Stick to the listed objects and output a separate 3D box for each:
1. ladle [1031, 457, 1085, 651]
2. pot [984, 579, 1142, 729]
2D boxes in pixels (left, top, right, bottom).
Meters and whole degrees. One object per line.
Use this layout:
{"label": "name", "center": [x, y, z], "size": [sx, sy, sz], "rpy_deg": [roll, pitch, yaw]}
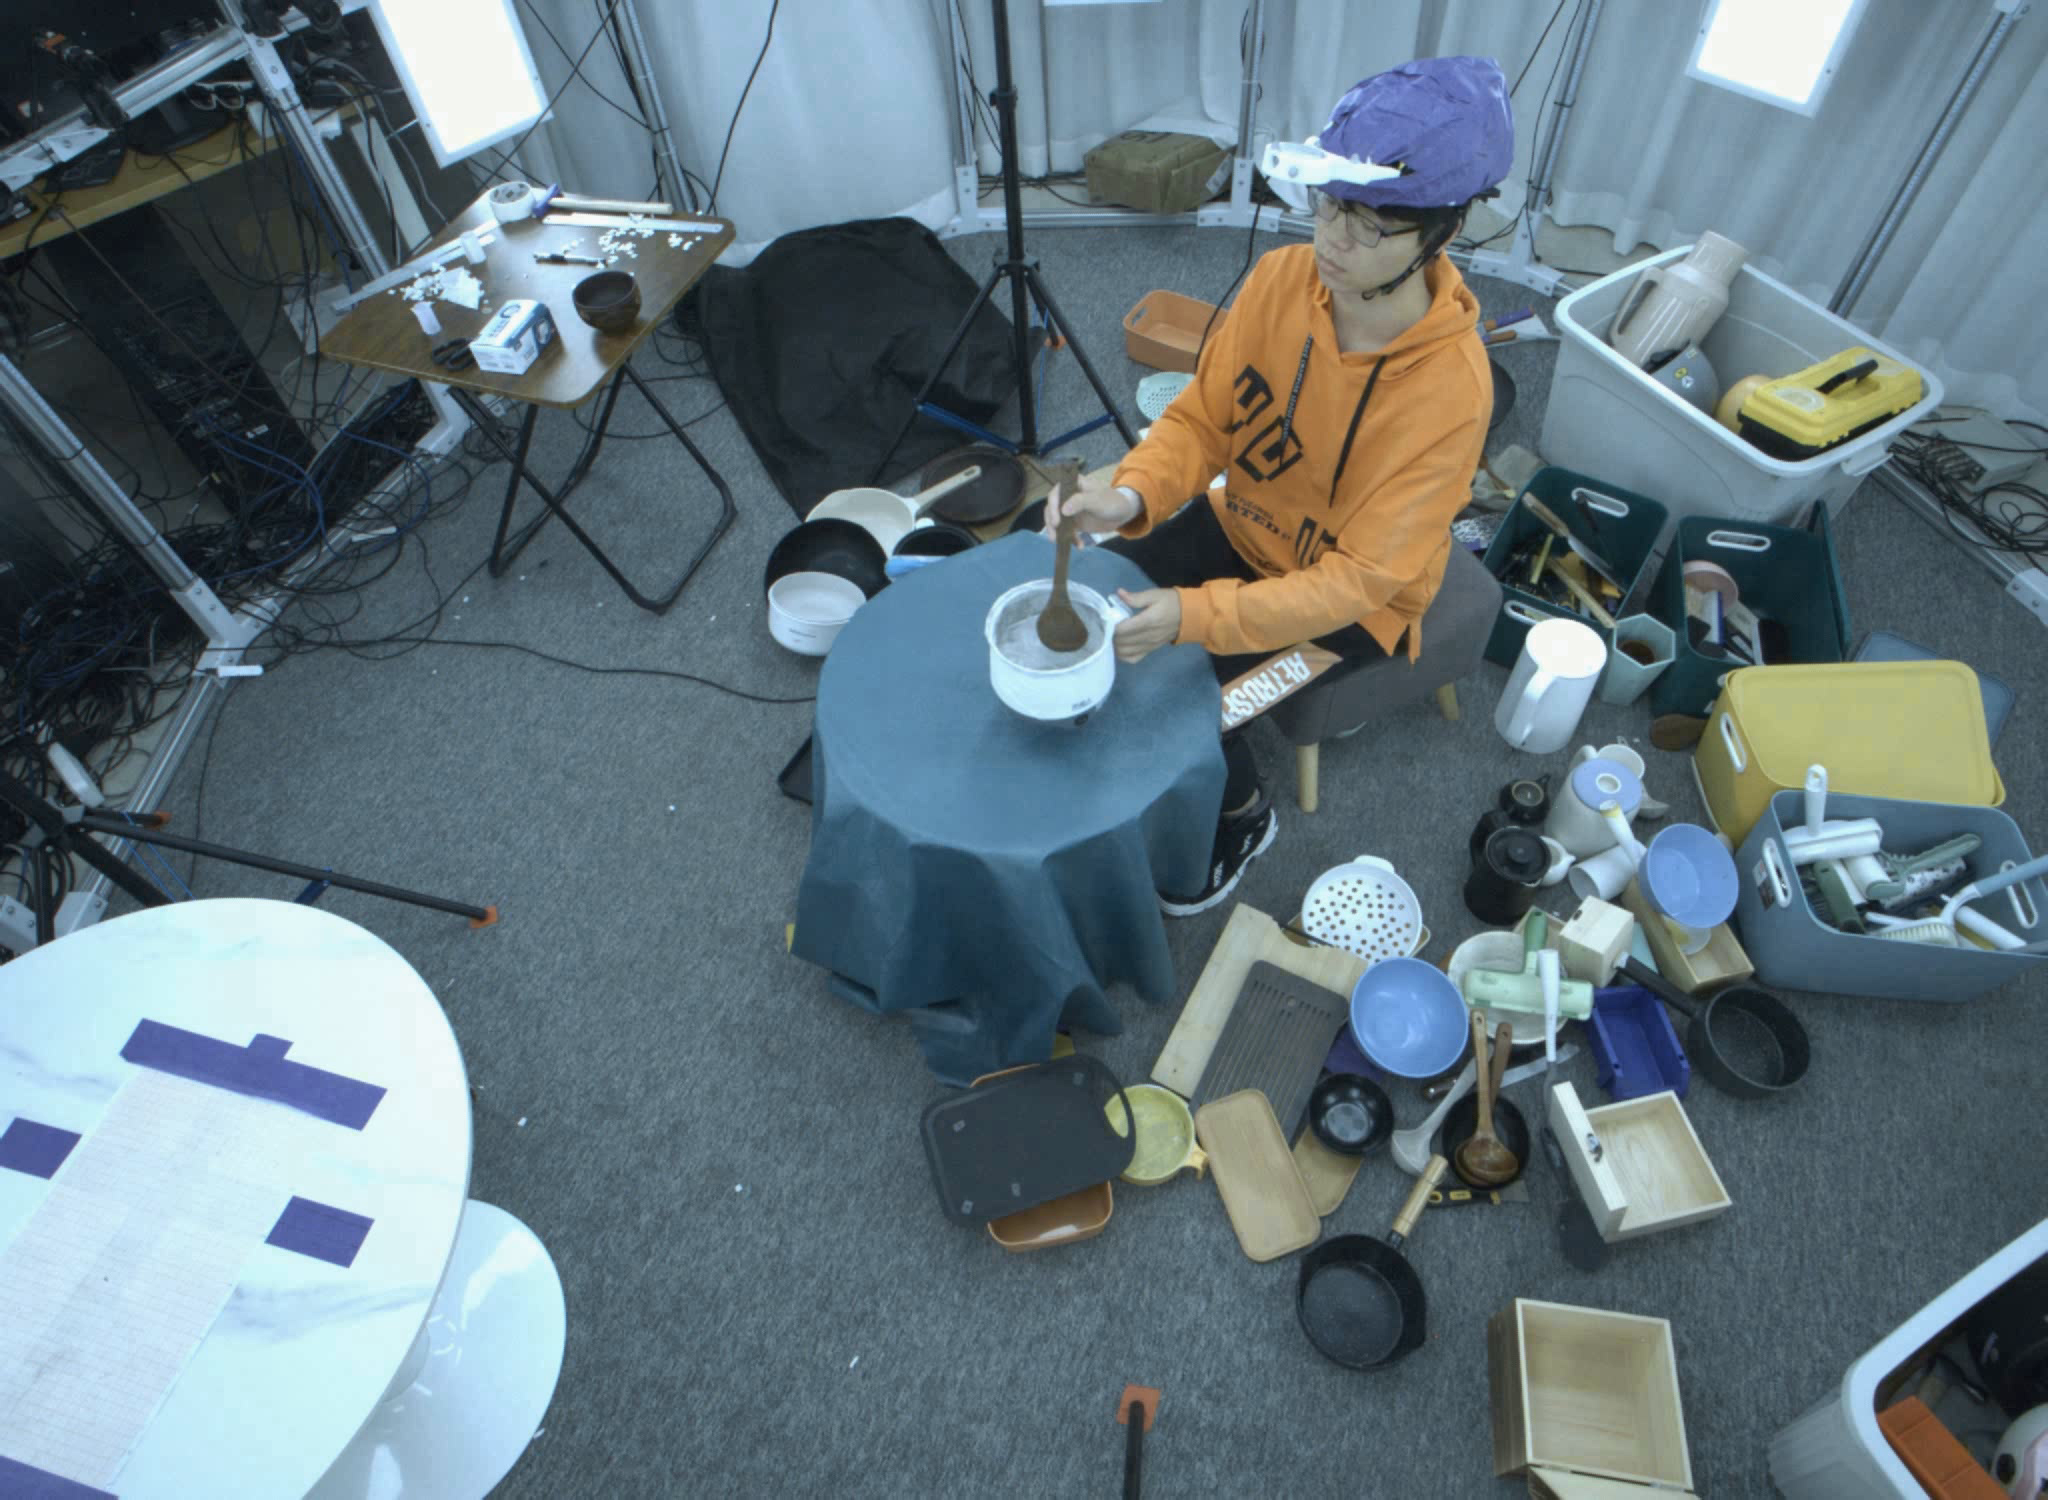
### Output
{"label": "ladle", "center": [0.055, -0.272, 1.677], "size": [0.077, 0.070, 0.274], "rpy_deg": [4, 92, -21]}
{"label": "pot", "center": [0.061, -0.144, 1.737], "size": [0.235, 0.138, 0.175], "rpy_deg": [-26, 58, -16]}
